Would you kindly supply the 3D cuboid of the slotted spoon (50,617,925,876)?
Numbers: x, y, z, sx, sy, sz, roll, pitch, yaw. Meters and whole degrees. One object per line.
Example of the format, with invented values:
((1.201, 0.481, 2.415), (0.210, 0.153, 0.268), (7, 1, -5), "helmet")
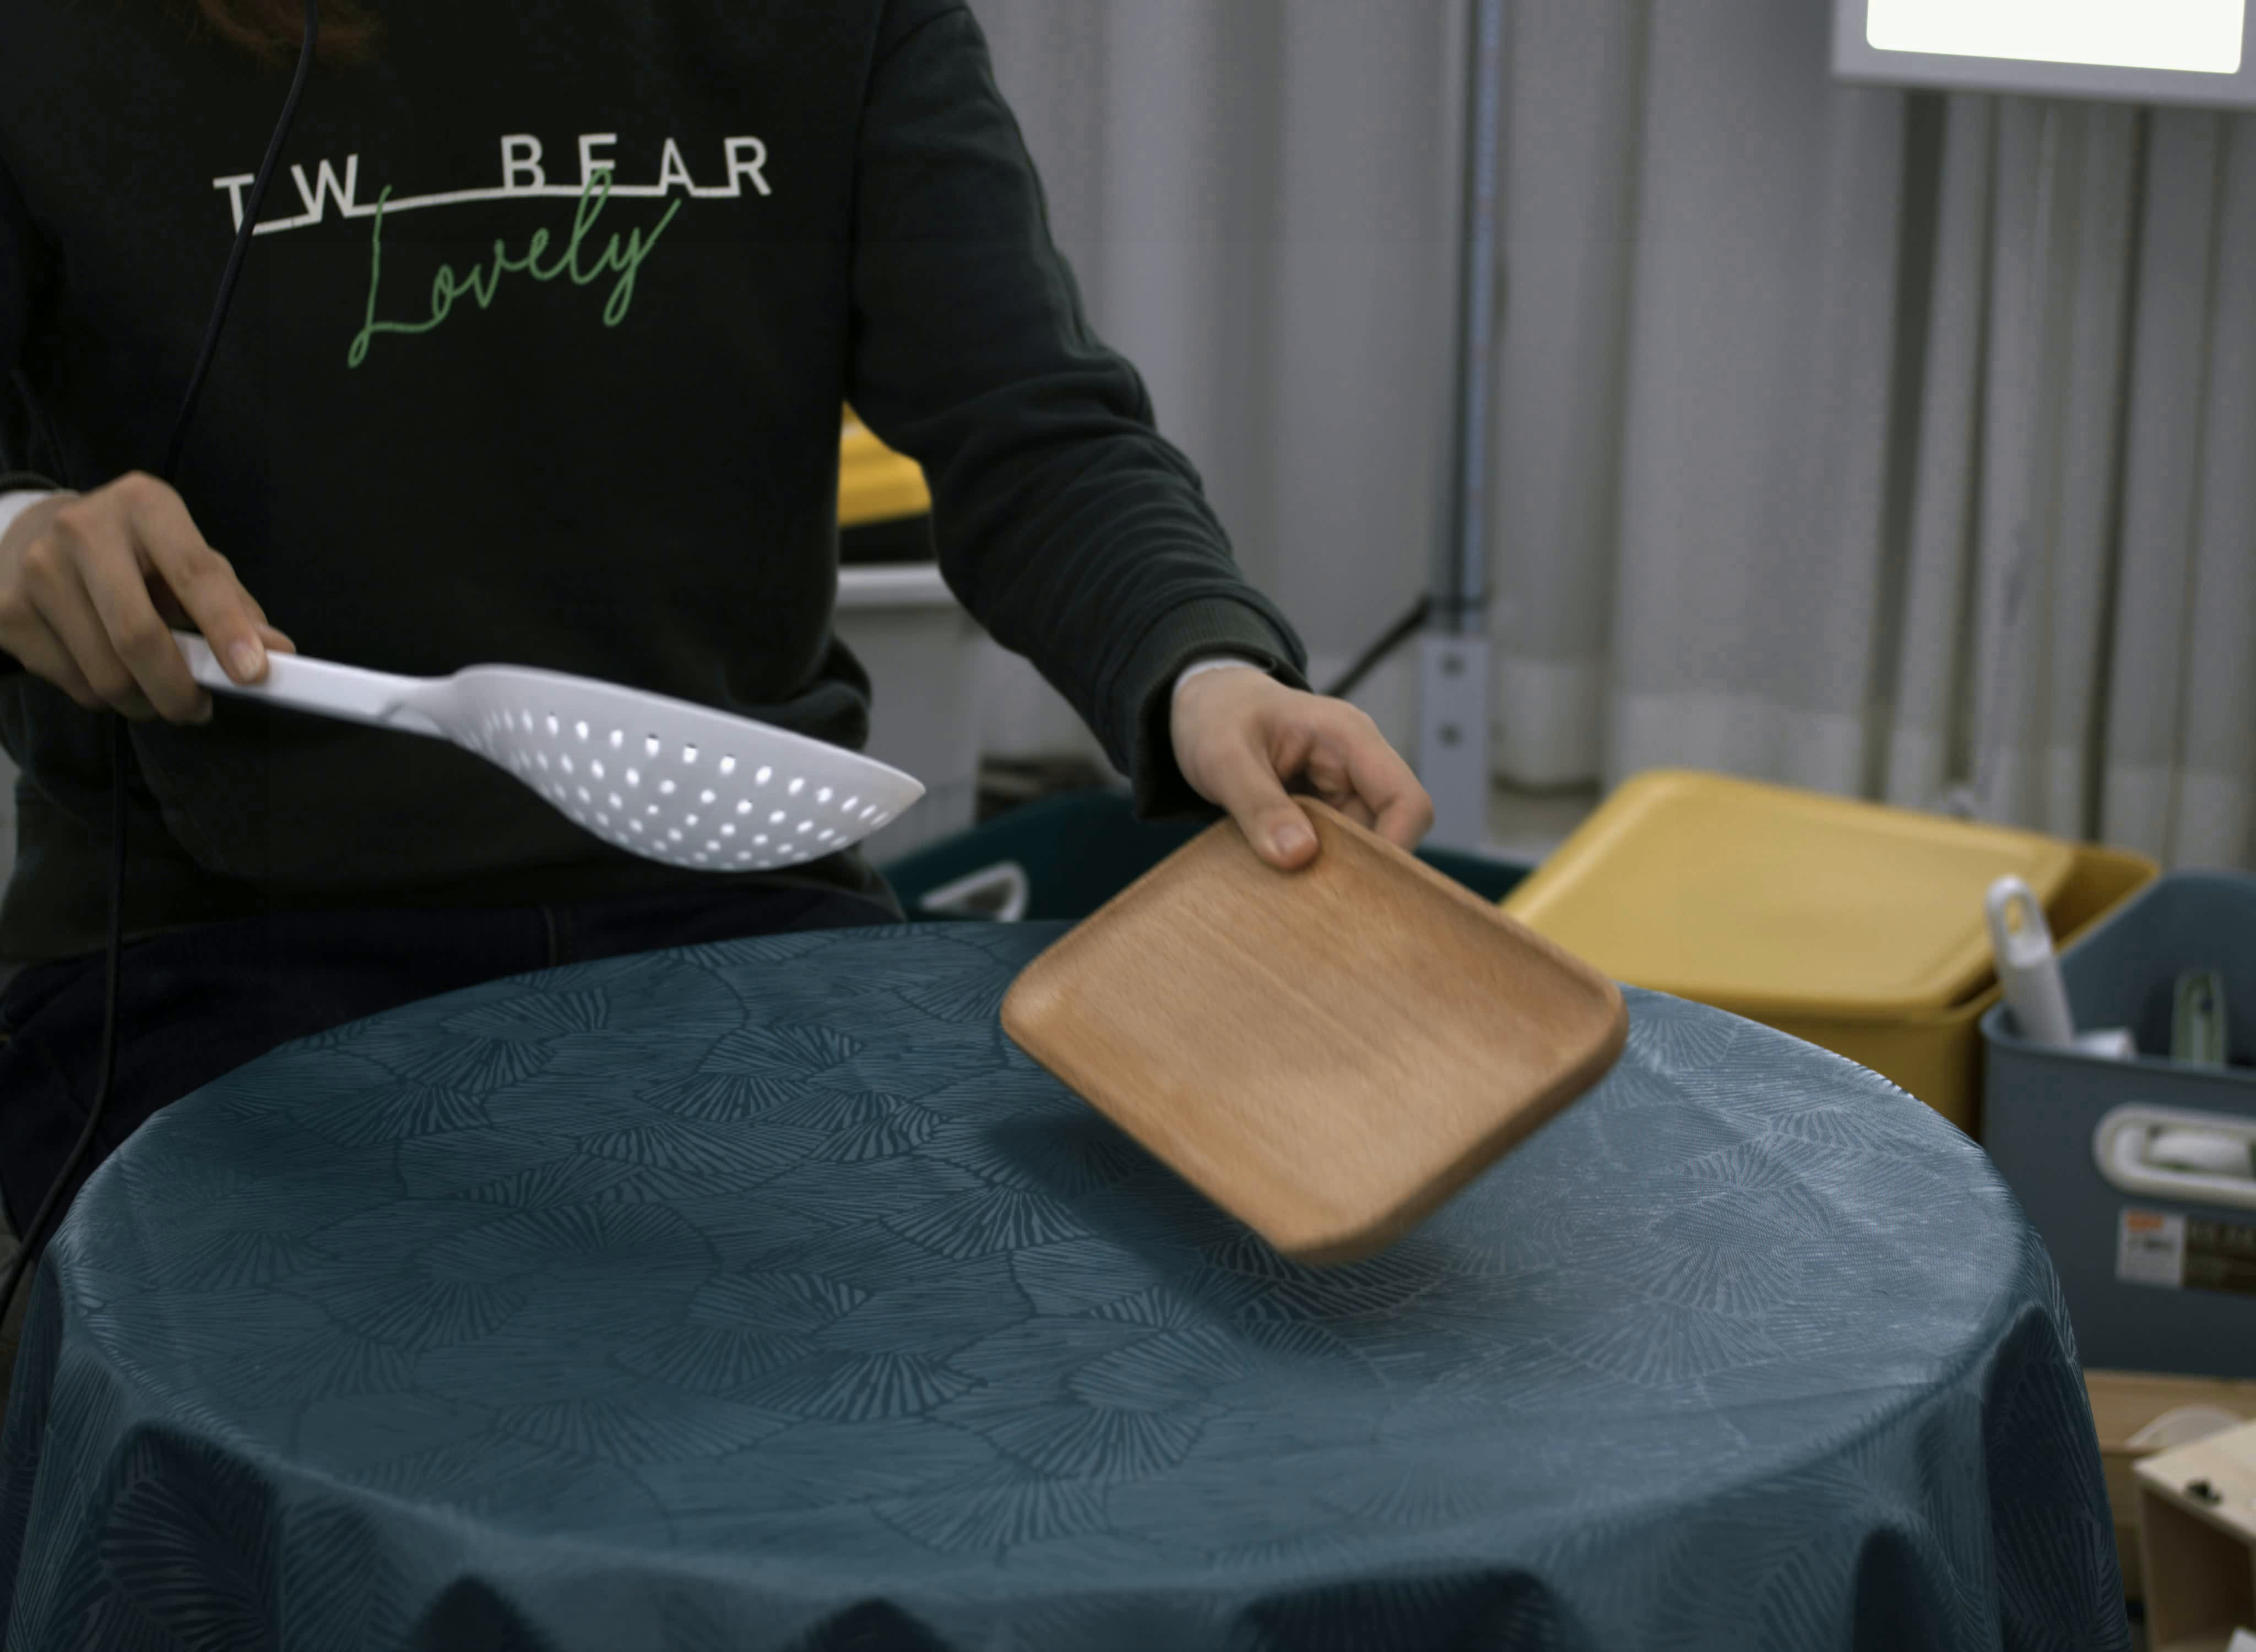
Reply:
((-0.208, -0.035, 1.592), (0.345, 0.046, 0.137), (17, -3, 39), "slotted spoon")

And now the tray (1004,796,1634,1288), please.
((0.054, 0.062, 1.598), (0.130, 0.023, 0.247), (-35, 27, -10), "tray")
